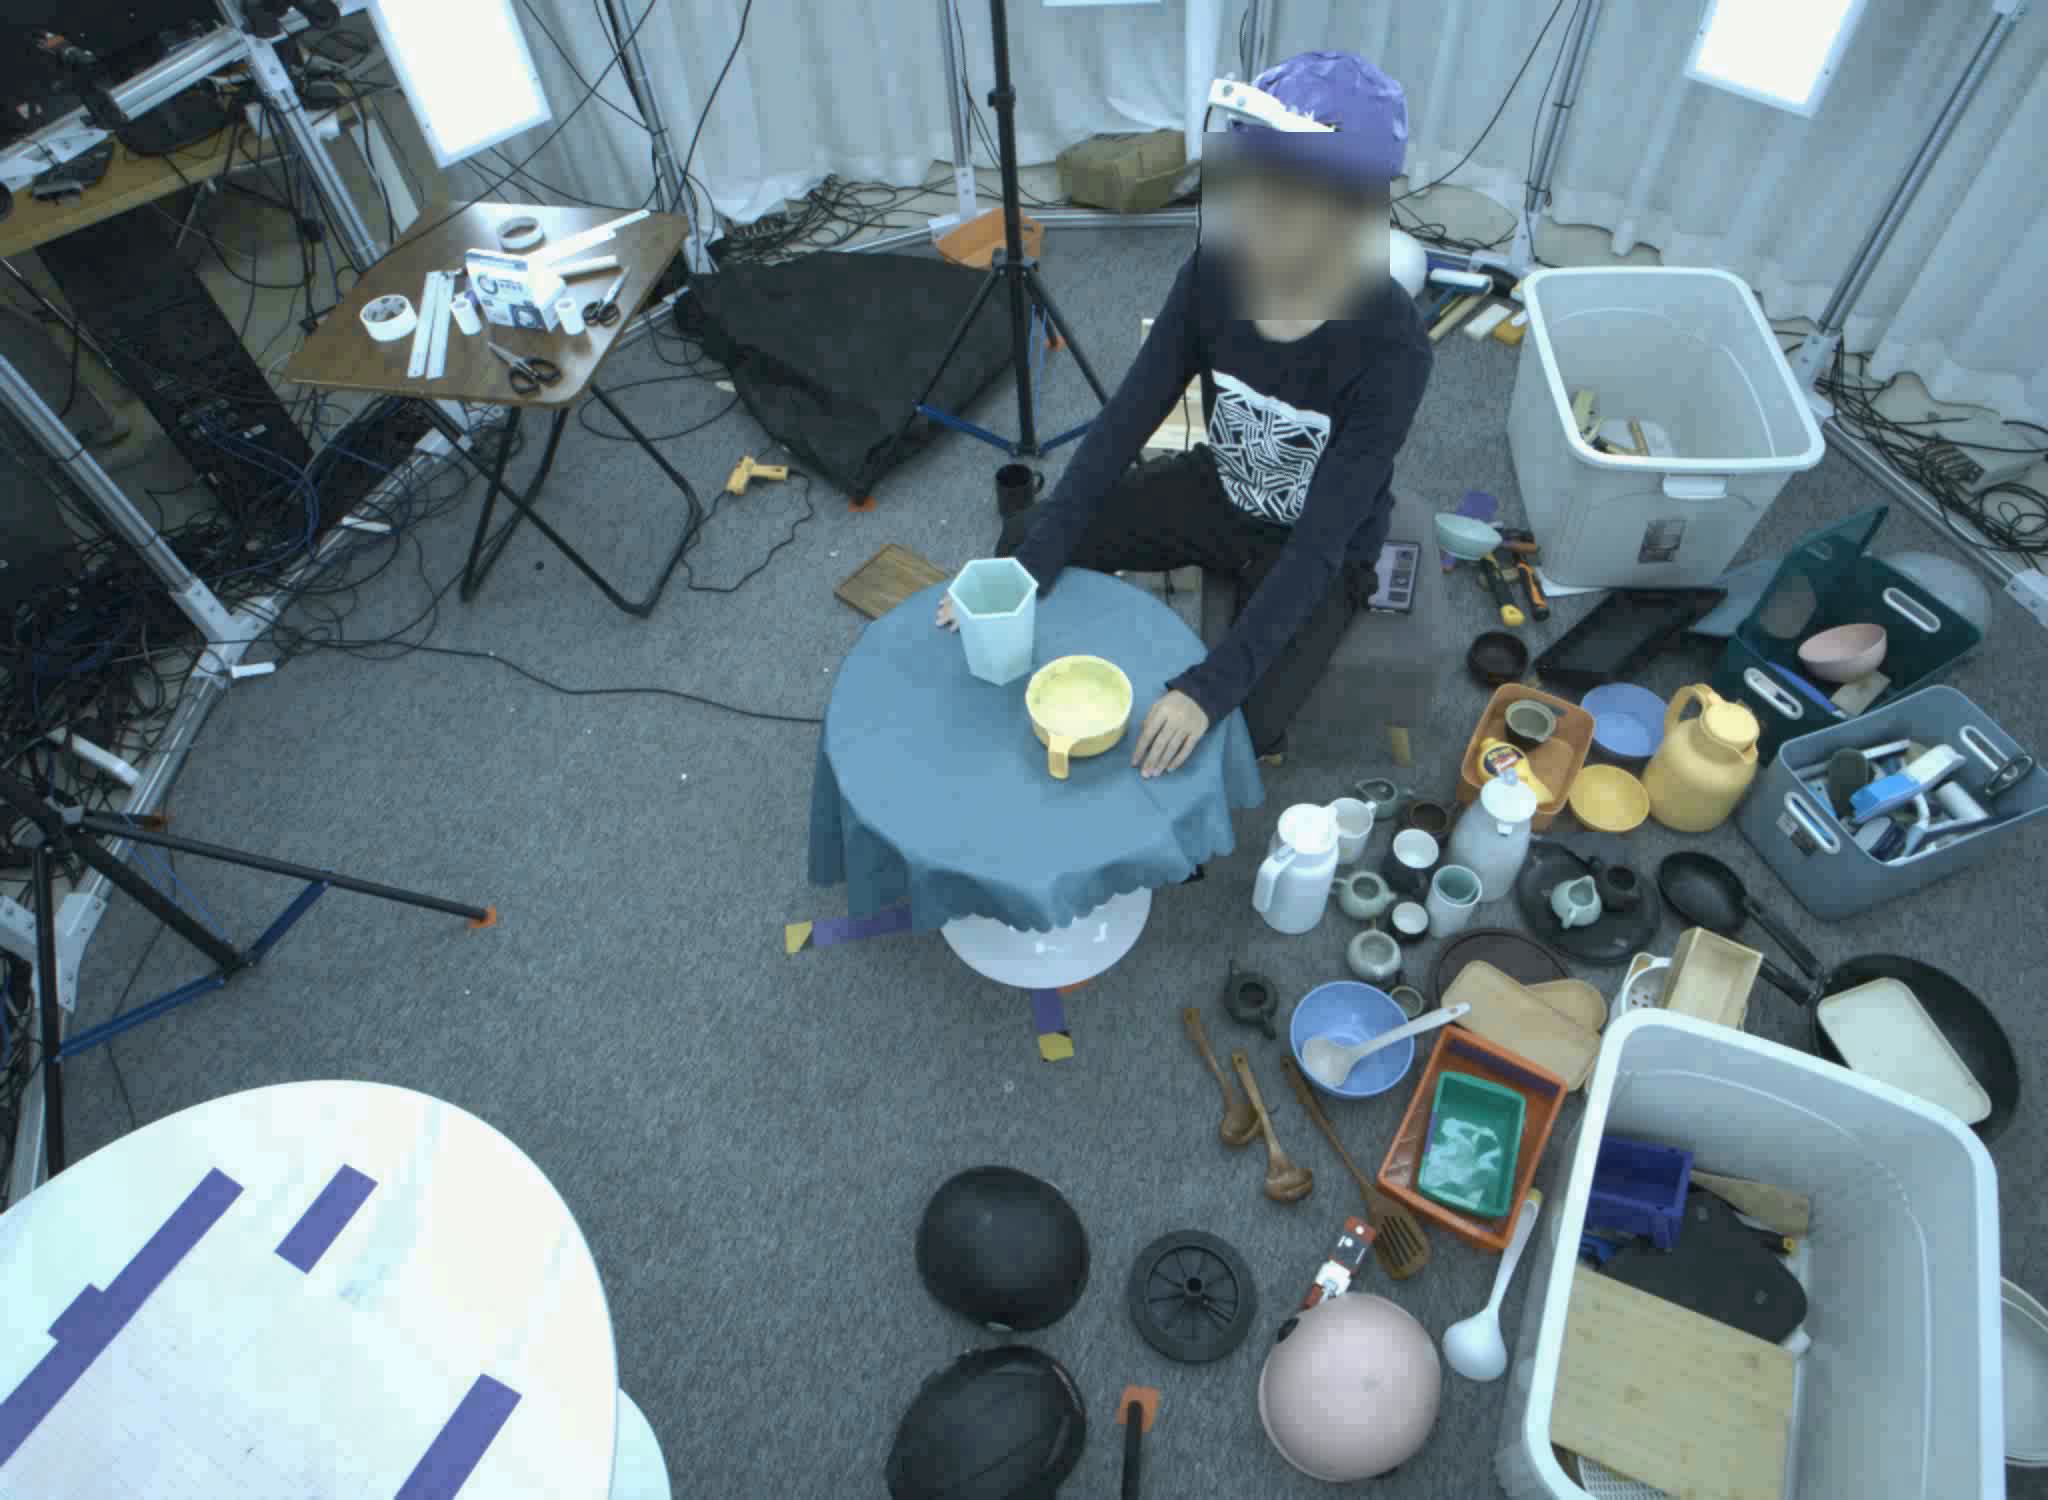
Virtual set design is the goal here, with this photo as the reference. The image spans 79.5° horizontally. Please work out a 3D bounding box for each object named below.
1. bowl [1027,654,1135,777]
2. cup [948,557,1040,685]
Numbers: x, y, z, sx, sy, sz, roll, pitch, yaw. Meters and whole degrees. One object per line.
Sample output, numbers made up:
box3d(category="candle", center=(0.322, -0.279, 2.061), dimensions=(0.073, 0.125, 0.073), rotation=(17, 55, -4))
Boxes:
box3d(category="bowl", center=(0.077, -0.050, 1.770), dimensions=(0.152, 0.075, 0.179), rotation=(15, 55, 8))
box3d(category="cup", center=(-0.041, -0.186, 1.812), dimensions=(0.116, 0.164, 0.128), rotation=(-30, 59, -18))
